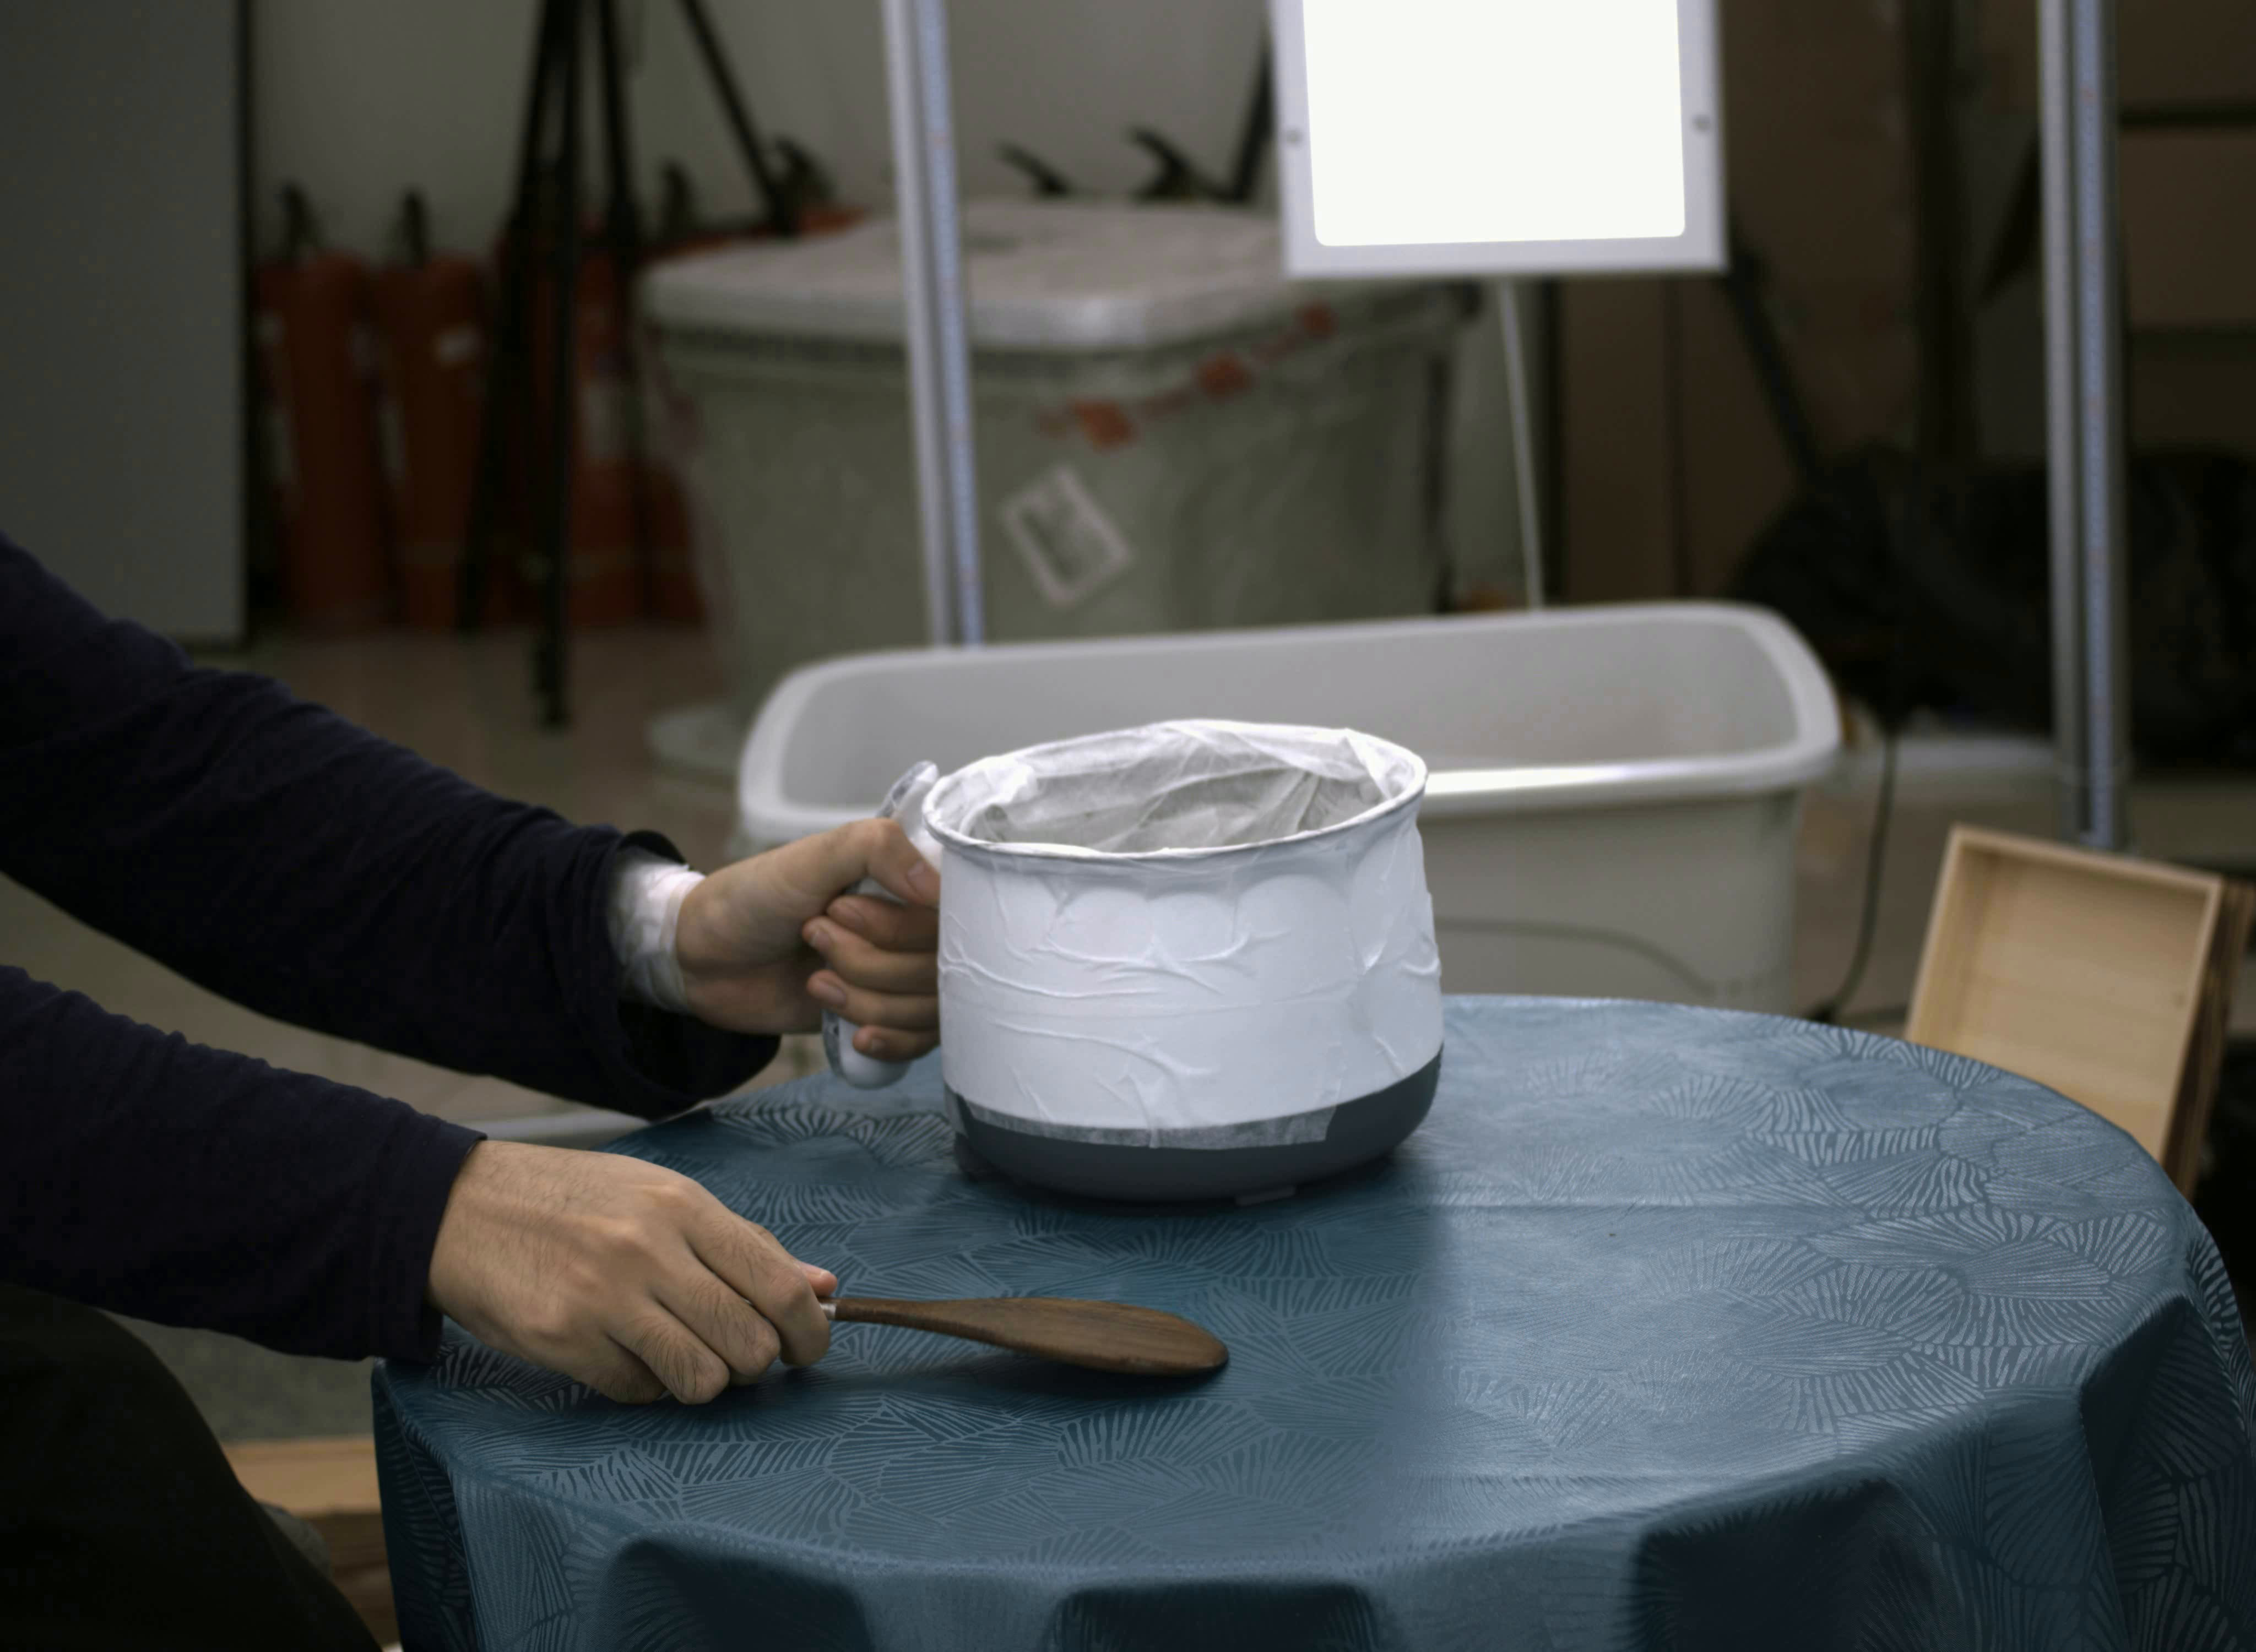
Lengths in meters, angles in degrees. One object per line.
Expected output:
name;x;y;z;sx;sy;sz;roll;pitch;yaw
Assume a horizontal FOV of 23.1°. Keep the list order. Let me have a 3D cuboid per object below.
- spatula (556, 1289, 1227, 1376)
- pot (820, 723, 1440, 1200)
spatula;-0.075;0.156;1.738;0.217;0.009;0.071;4;5;10
pot;-0.004;0.044;1.936;0.237;0.137;0.175;4;15;26
